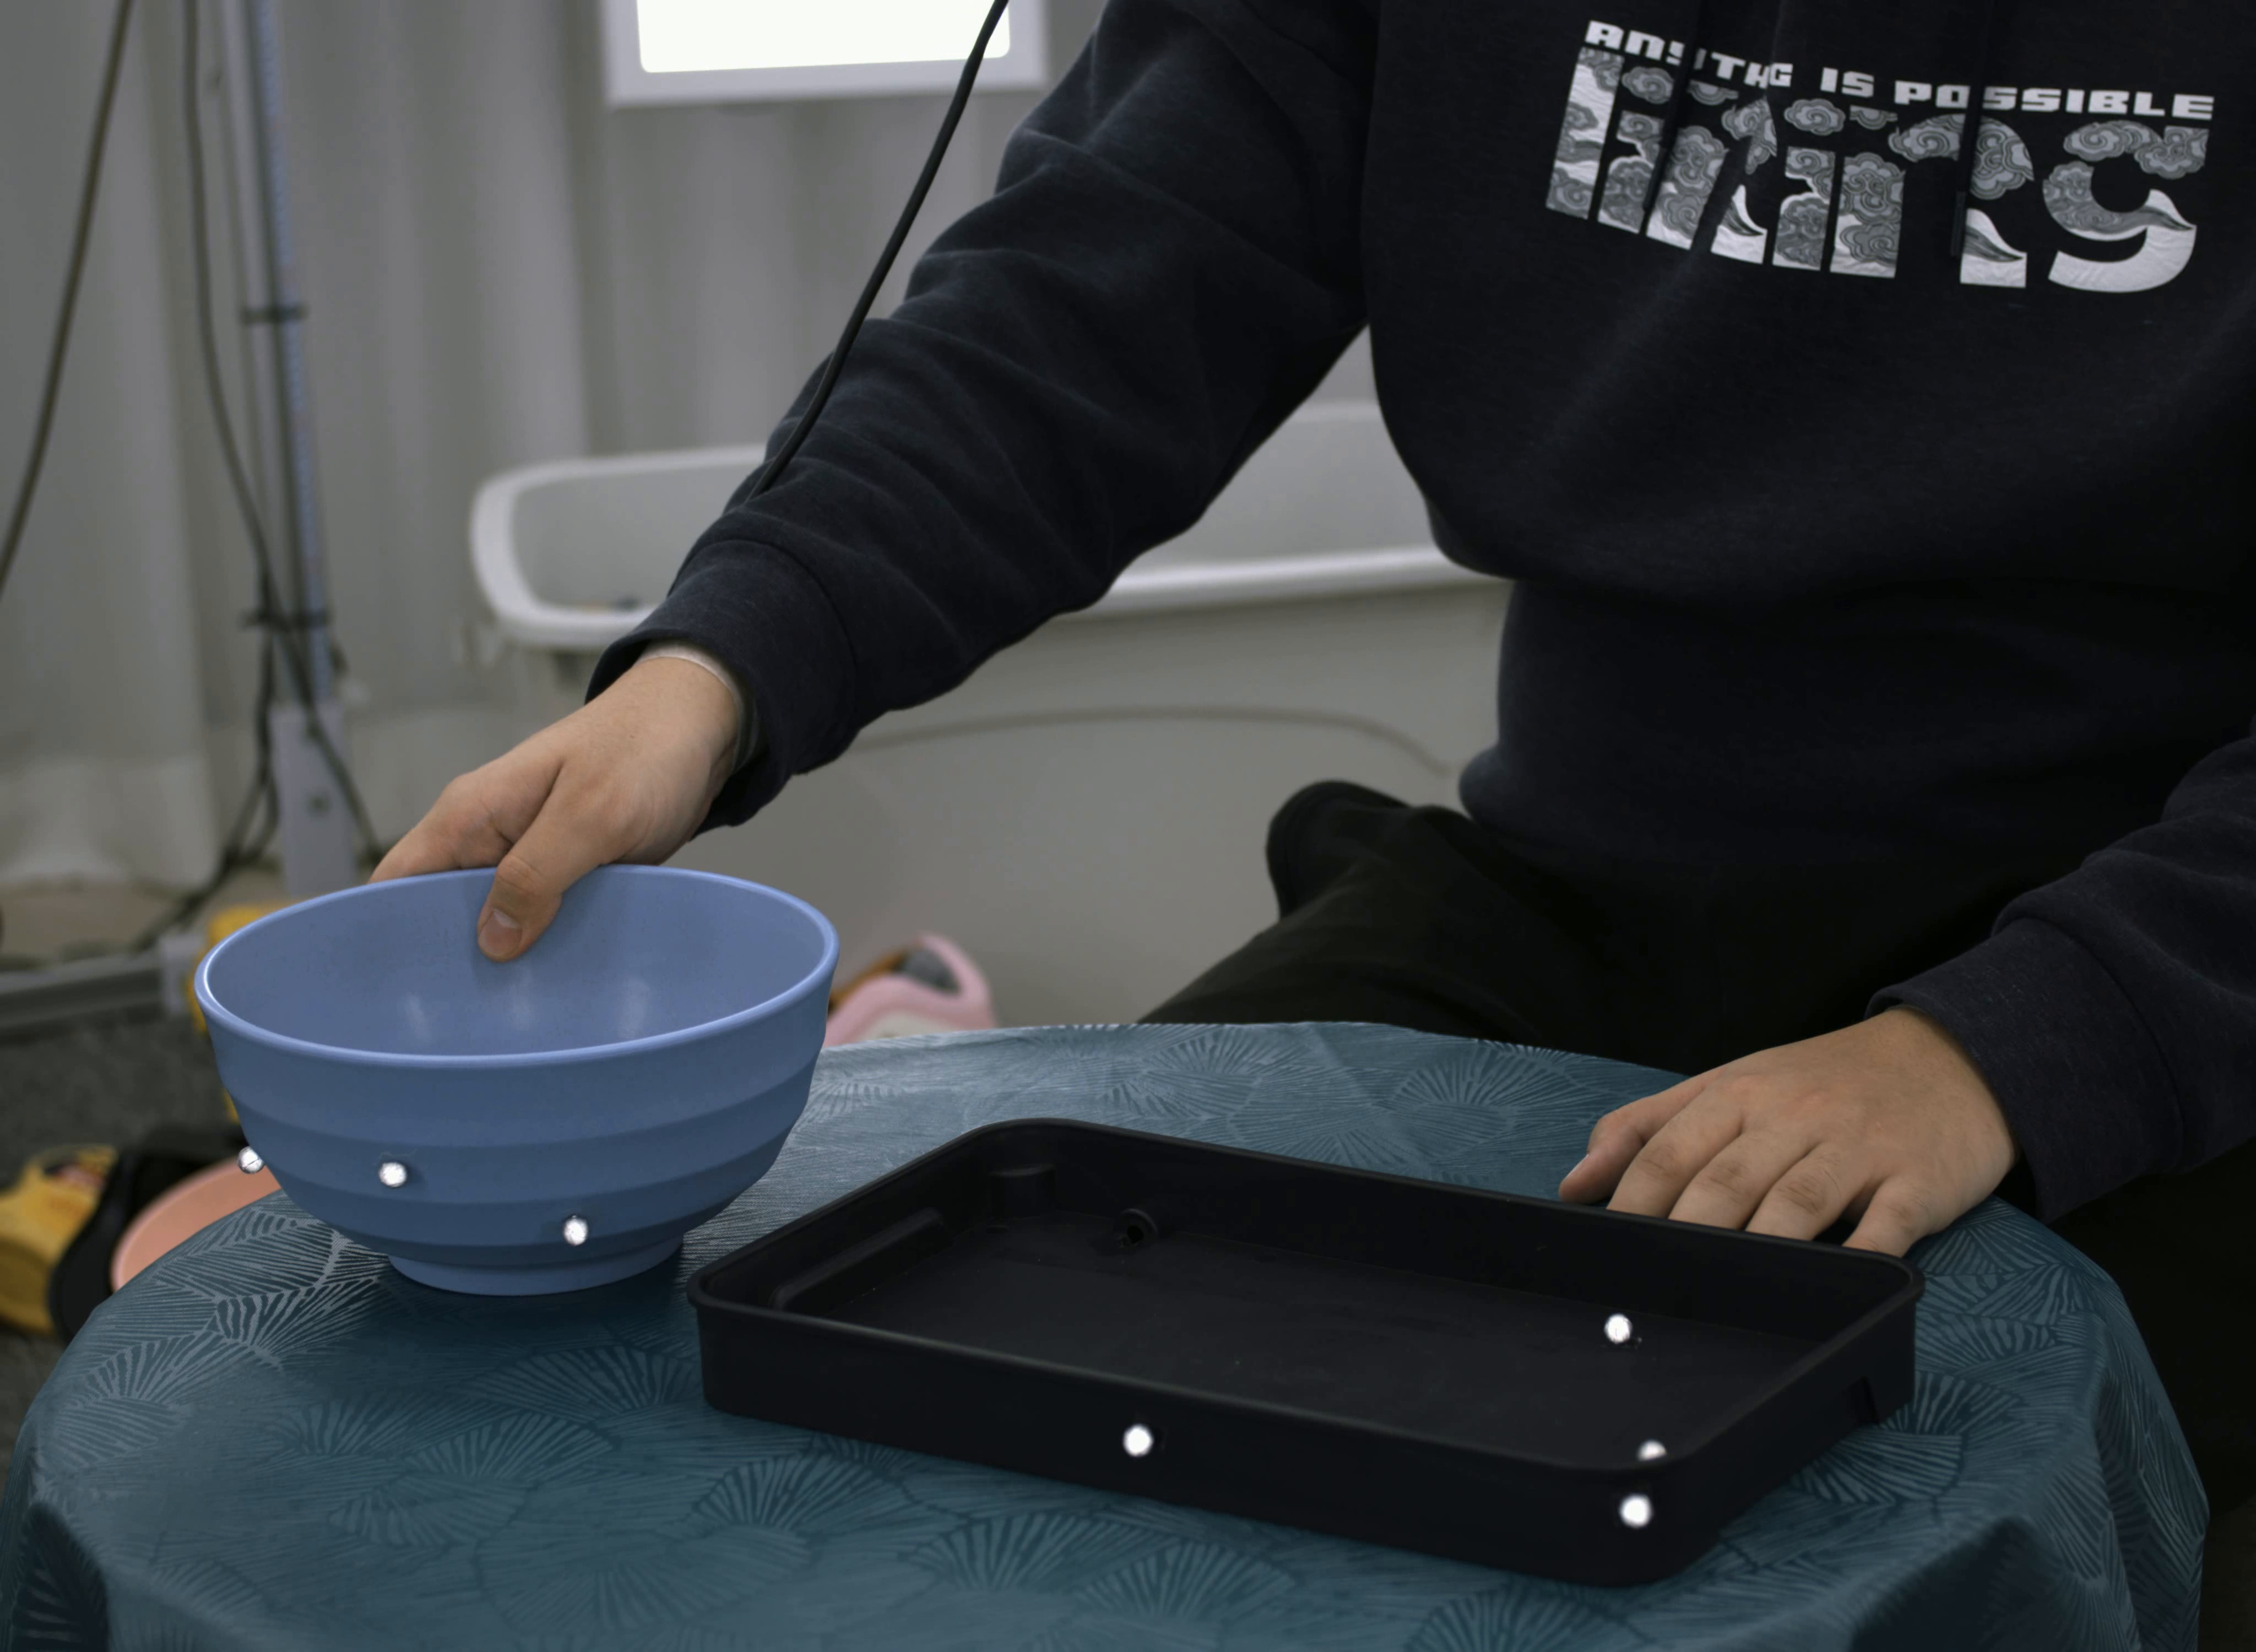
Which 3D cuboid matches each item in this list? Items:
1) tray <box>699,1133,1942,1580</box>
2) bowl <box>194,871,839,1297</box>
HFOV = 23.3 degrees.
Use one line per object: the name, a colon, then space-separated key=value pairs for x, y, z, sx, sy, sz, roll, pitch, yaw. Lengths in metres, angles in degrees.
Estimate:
tray: x=0.053 y=0.144 z=1.534 sx=0.319 sy=0.037 sz=0.184 roll=5 pitch=16 yaw=31
bowl: x=-0.183 y=0.084 z=1.677 sx=0.196 sy=0.095 sz=0.198 roll=-3 pitch=15 yaw=0
